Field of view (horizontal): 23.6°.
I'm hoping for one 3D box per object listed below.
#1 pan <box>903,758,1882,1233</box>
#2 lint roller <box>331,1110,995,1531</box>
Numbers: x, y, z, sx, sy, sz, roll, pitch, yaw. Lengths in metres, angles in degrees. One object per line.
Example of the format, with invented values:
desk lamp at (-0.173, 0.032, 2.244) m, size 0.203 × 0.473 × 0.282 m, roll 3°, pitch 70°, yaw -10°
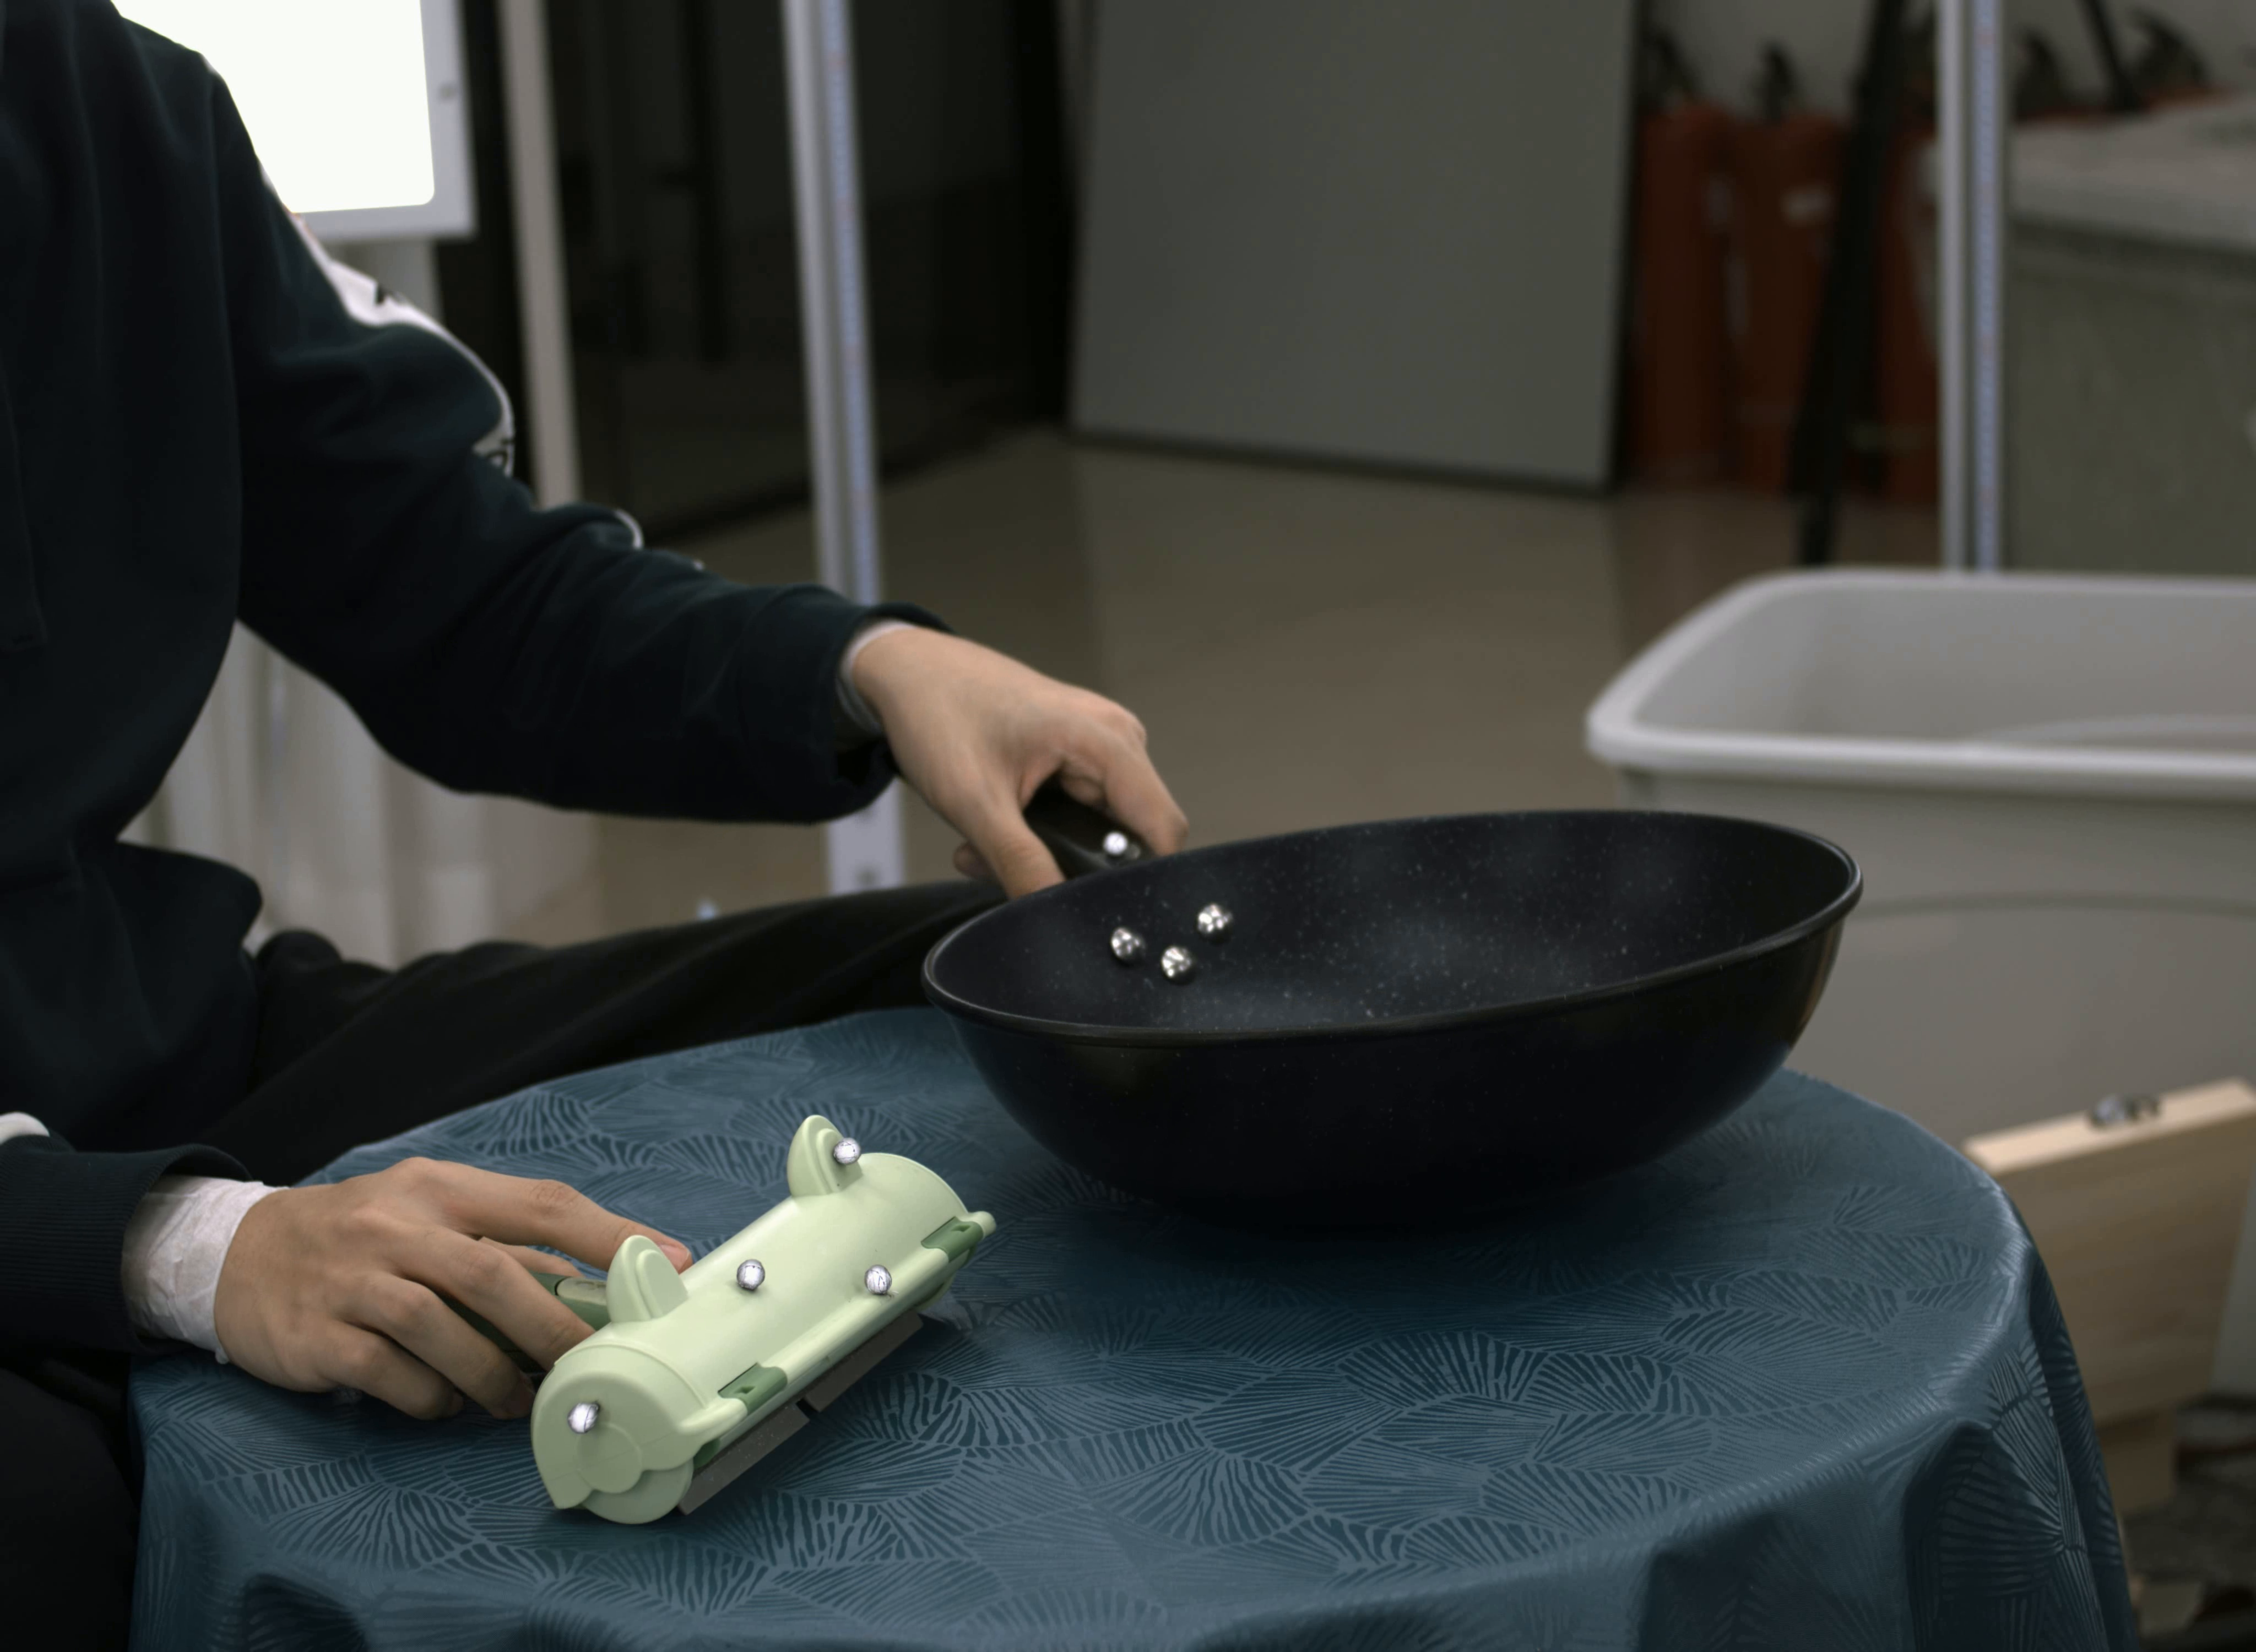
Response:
pan at (0.050, 0.052, 1.820) m, size 0.303 × 0.113 × 0.482 m, roll -11°, pitch 11°, yaw -29°
lint roller at (-0.158, 0.135, 1.605) m, size 0.183 × 0.083 × 0.196 m, roll 7°, pitch 17°, yaw 23°
